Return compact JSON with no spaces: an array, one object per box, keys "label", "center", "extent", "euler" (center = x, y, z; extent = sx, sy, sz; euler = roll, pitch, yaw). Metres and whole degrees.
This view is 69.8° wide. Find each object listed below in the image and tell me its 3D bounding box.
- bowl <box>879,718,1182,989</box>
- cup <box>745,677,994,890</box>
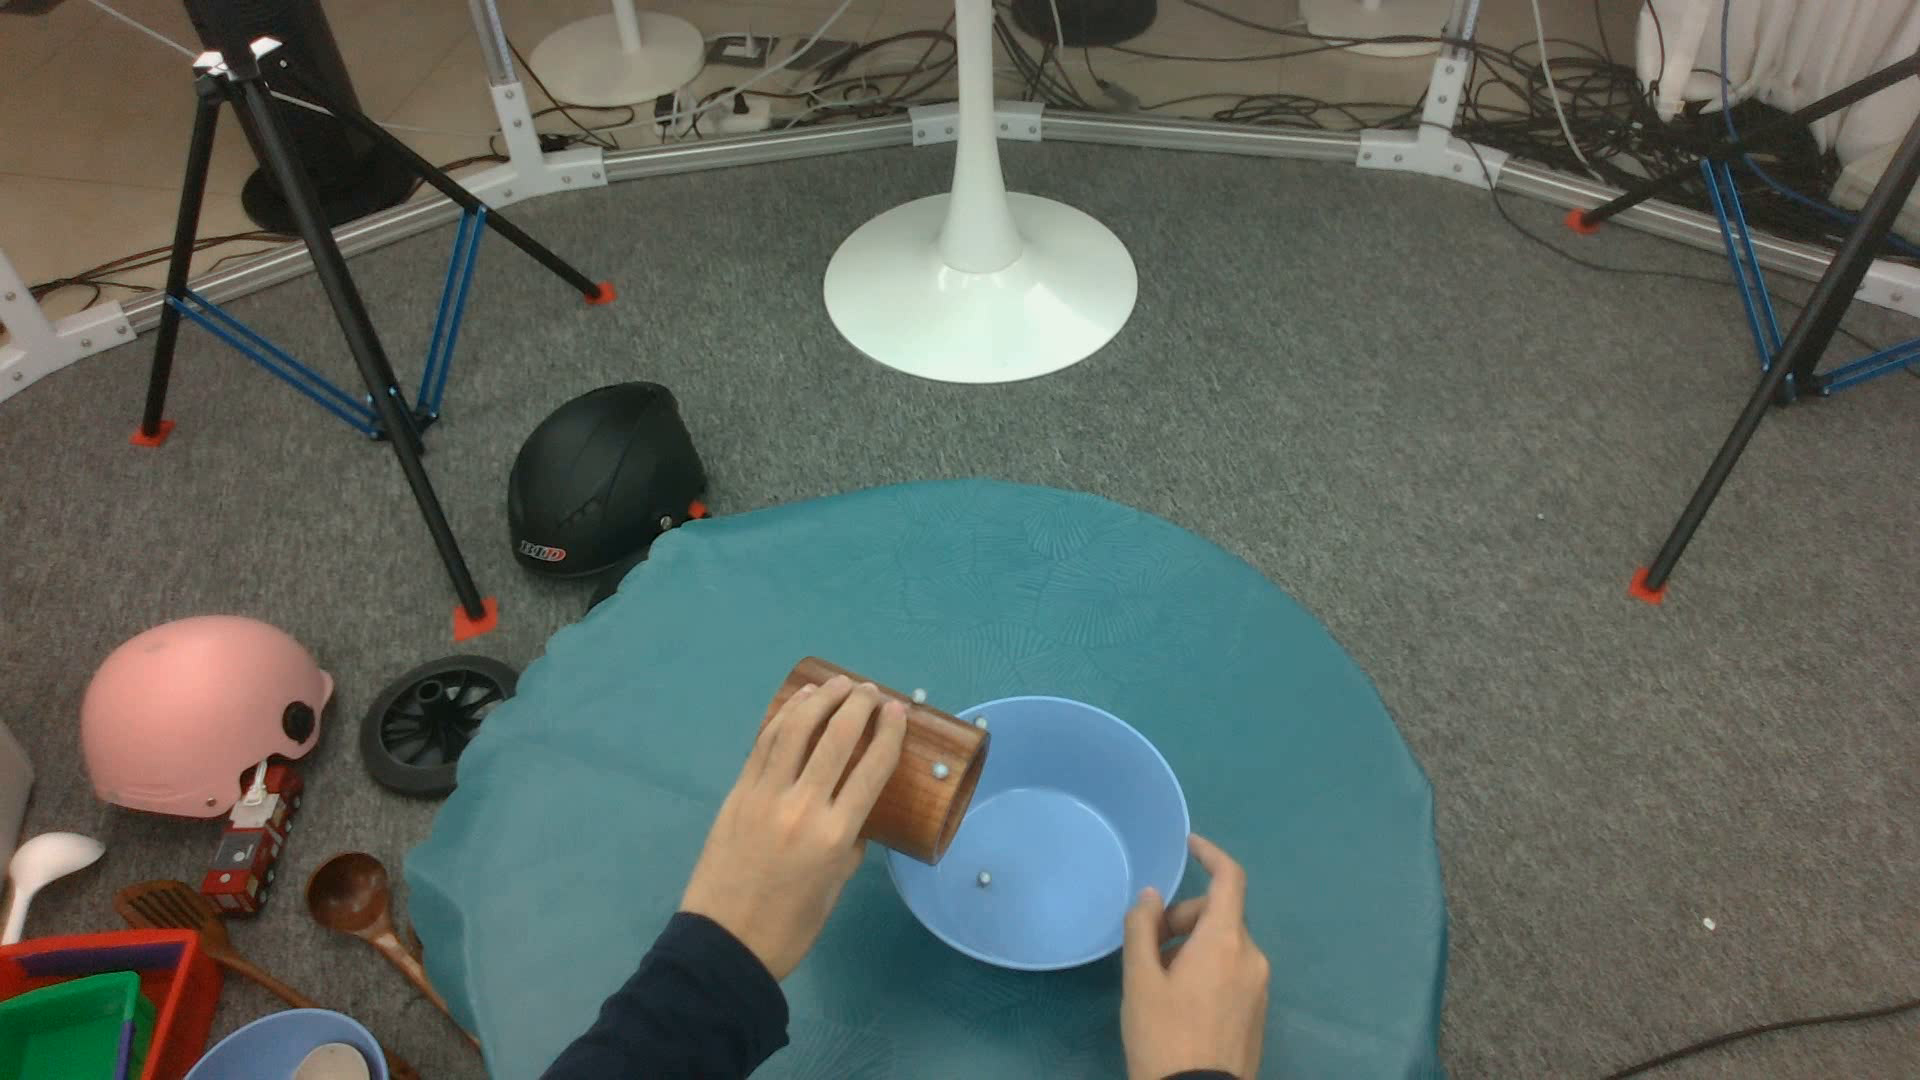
[{"label":"bowl","center":[0.041,0.197,0.820],"extent":[0.176,0.070,0.177],"euler":[-1,47,1]},{"label":"cup","center":[-0.049,0.135,0.774],"extent":[0.118,0.087,0.088],"euler":[21,50,16]}]
